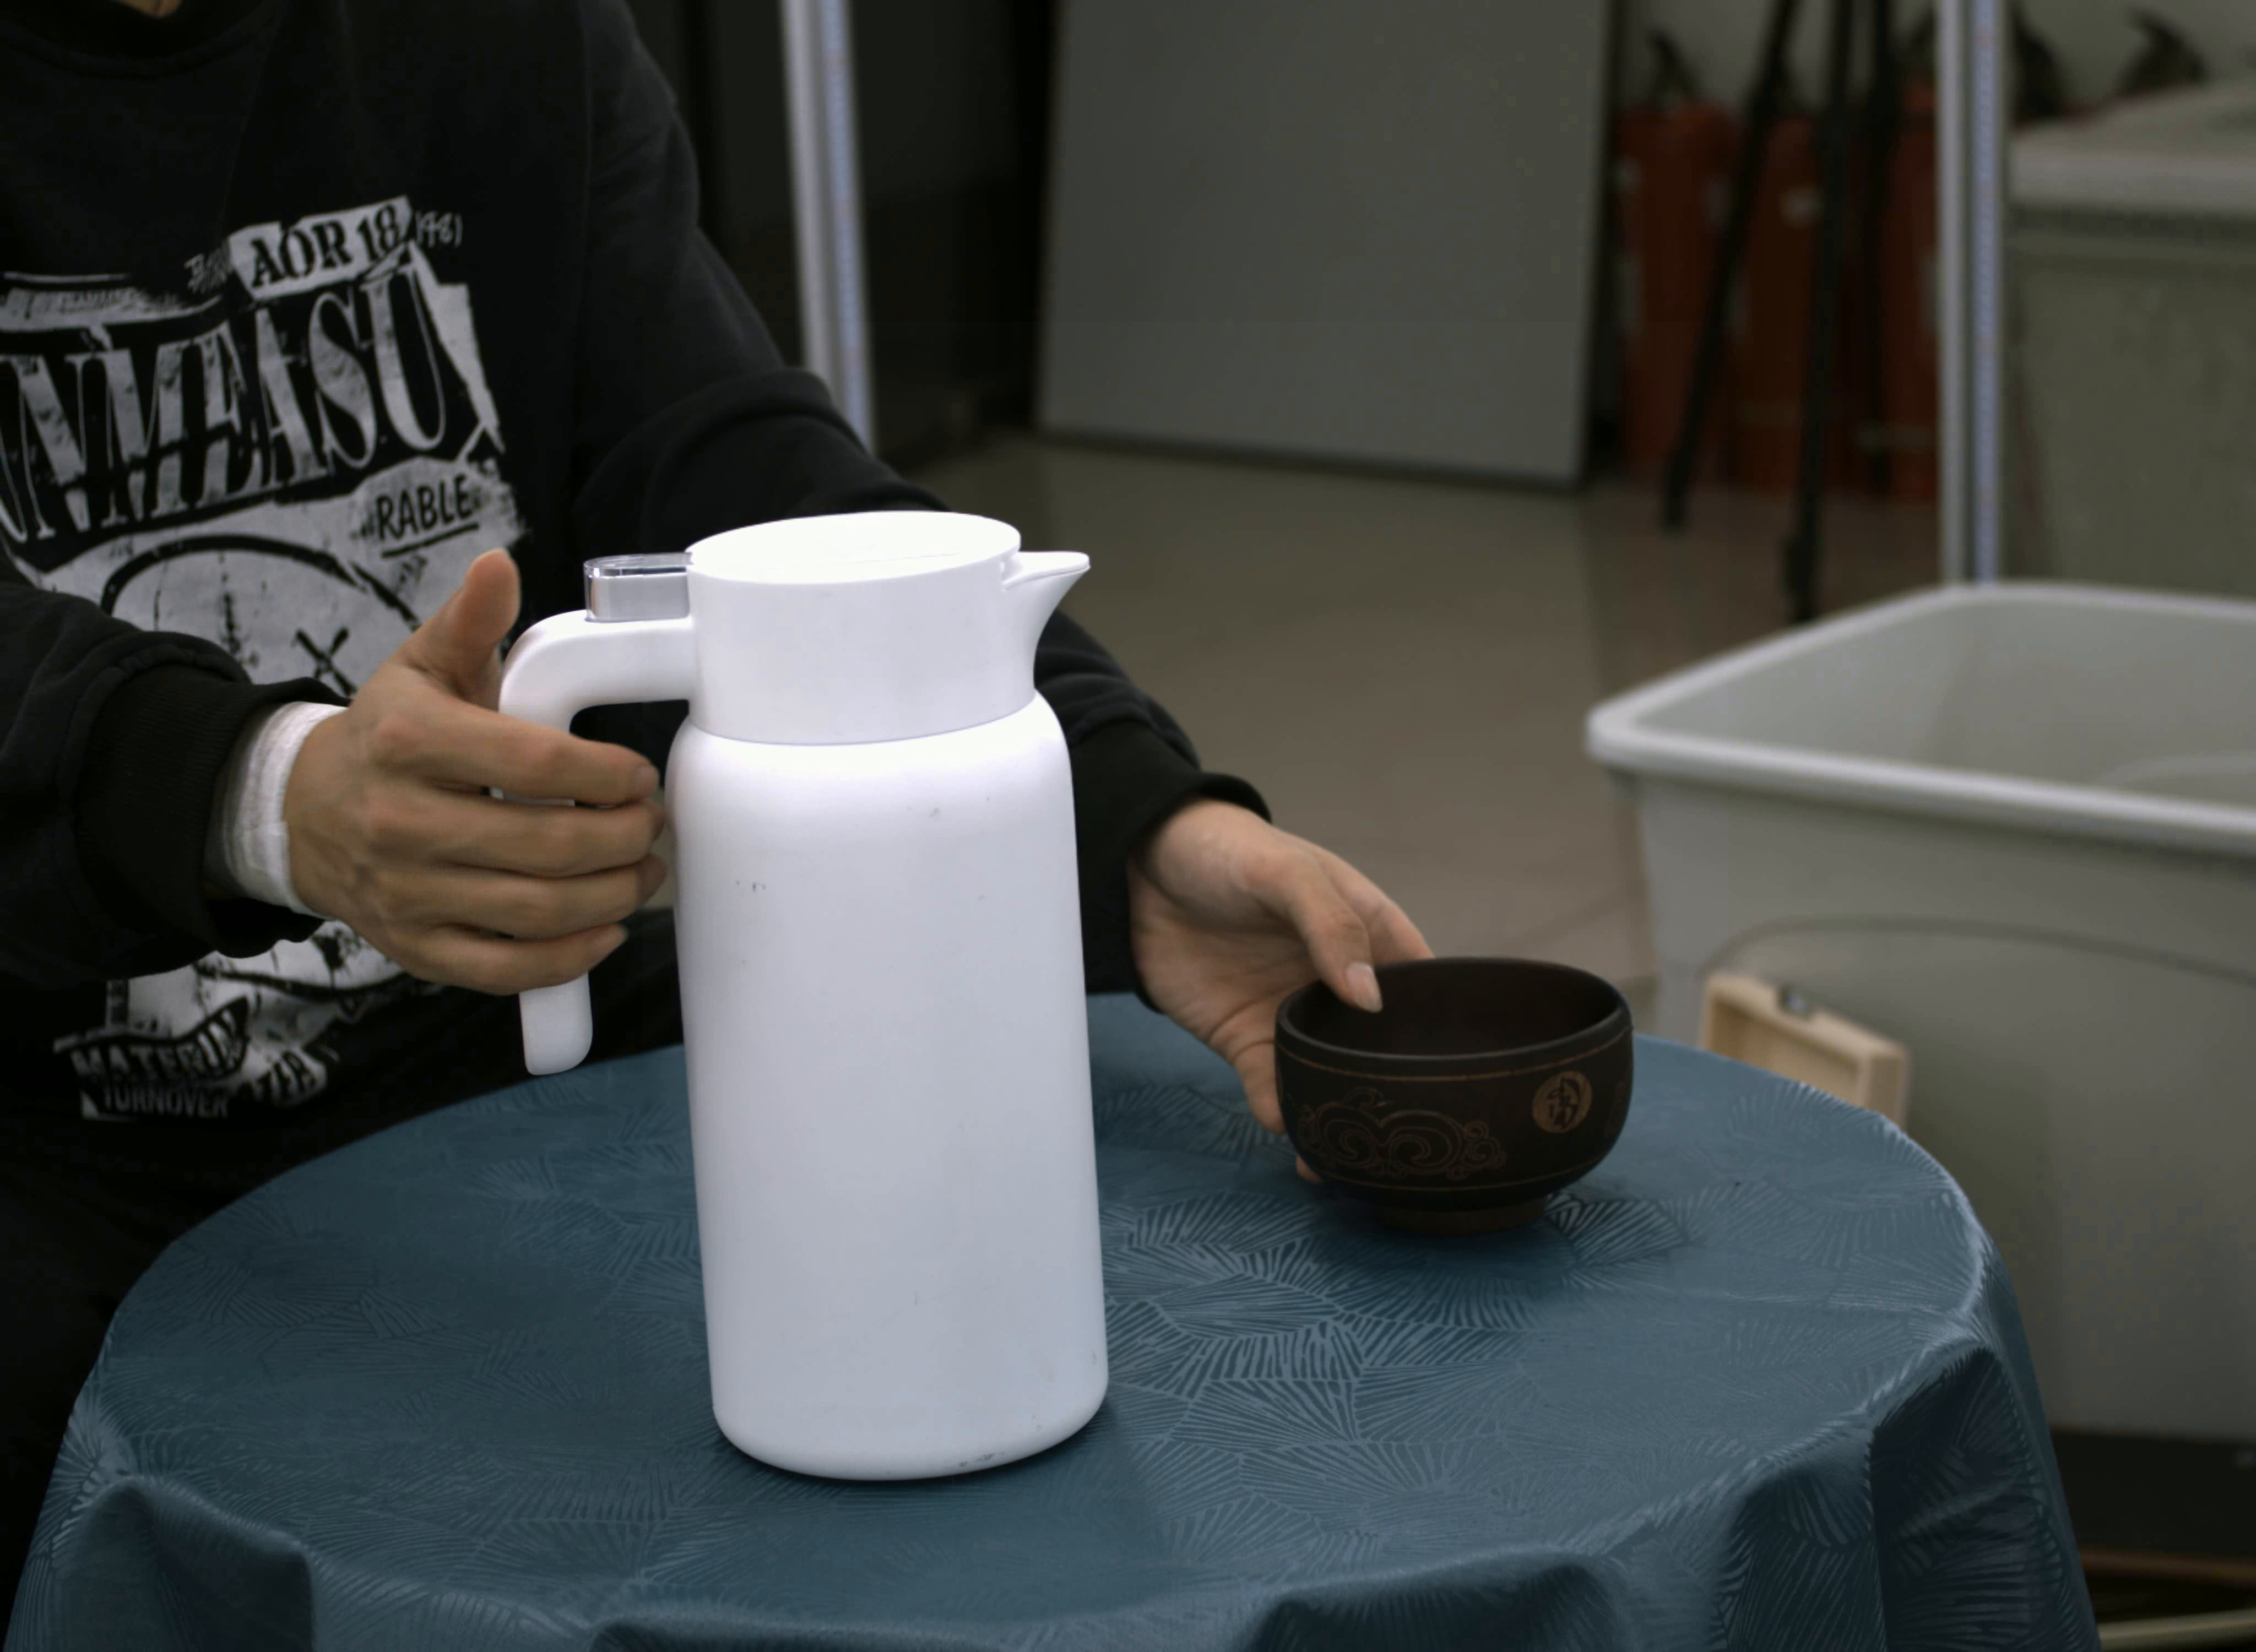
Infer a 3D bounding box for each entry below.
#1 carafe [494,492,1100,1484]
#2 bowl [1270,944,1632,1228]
[{"bbox_3d":[-0.089,0.047,1.543,0.170,0.272,0.124,-5,15,-5],"label":"carafe"},{"bbox_3d":[0.104,0.087,1.725,0.116,0.070,0.118,-5,14,0],"label":"bowl"}]
